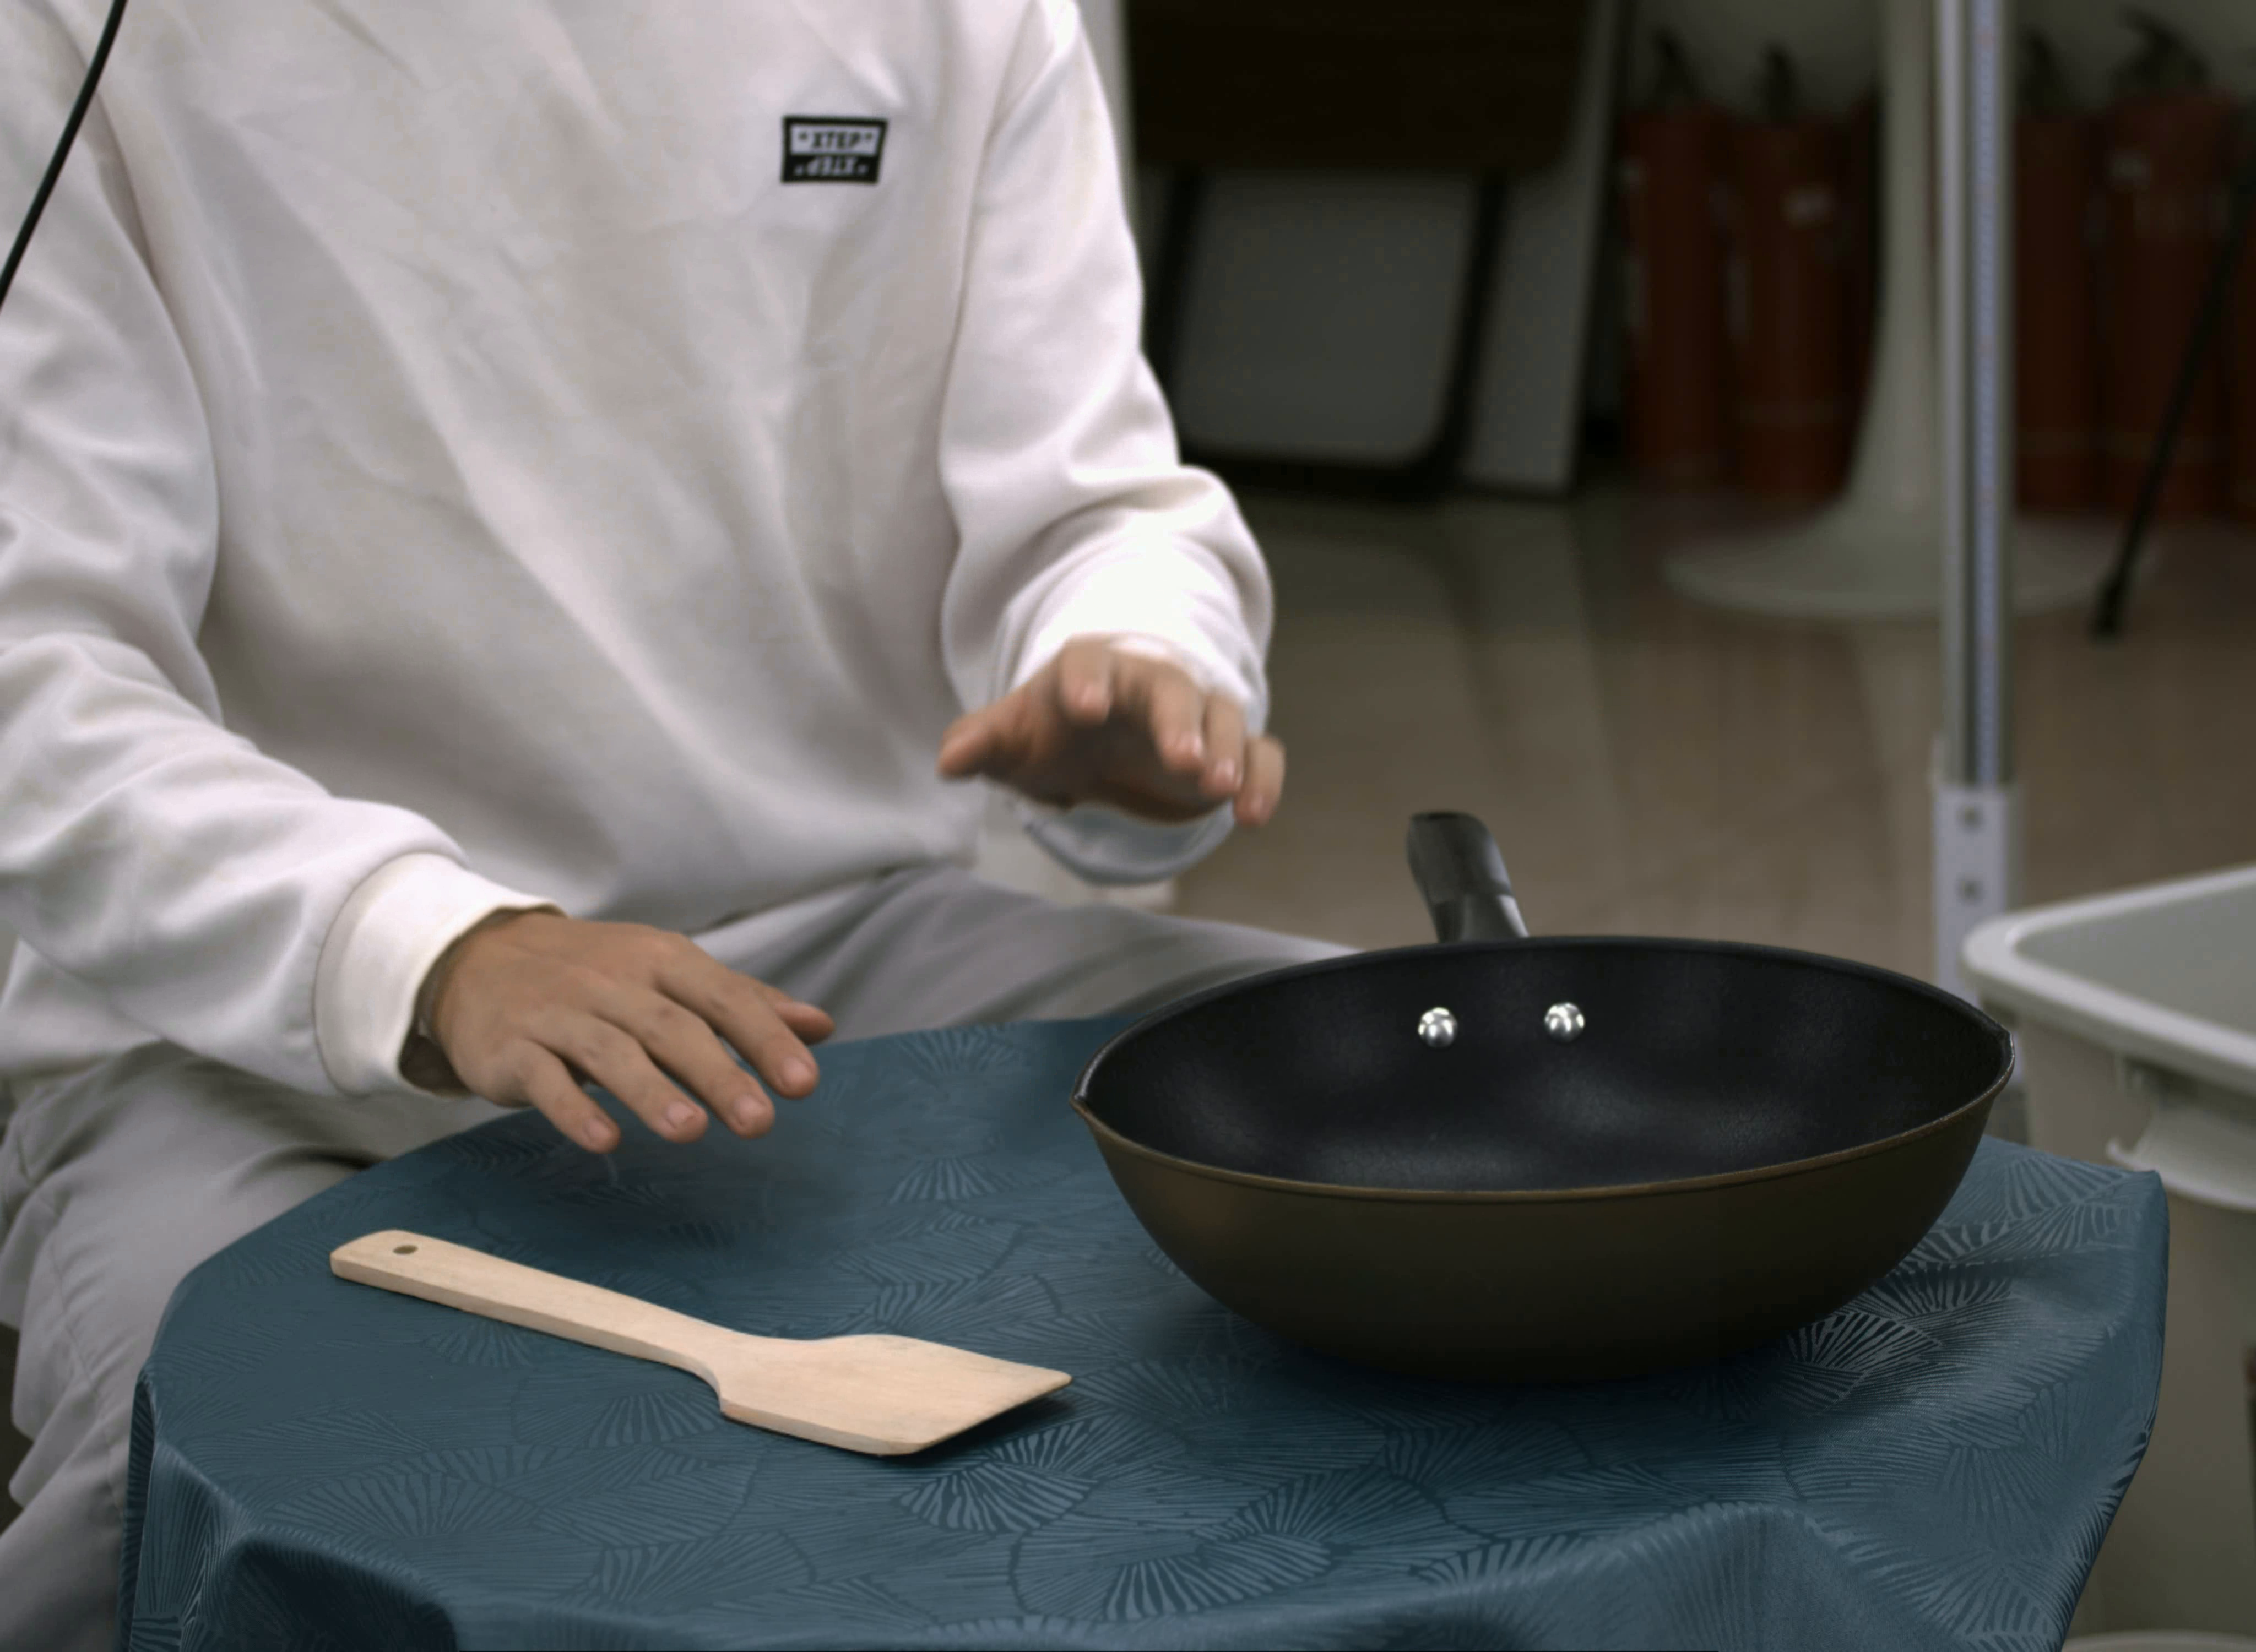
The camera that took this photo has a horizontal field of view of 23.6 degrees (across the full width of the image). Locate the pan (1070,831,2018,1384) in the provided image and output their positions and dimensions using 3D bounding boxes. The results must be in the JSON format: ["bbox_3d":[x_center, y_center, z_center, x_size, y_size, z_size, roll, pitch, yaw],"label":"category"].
[{"bbox_3d":[0.123,0.087,1.711,0.284,0.088,0.464,-3,12,-1],"label":"pan"}]

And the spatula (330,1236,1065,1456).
[{"bbox_3d":[-0.145,0.156,1.654,0.295,0.011,0.071,9,19,43],"label":"spatula"}]
